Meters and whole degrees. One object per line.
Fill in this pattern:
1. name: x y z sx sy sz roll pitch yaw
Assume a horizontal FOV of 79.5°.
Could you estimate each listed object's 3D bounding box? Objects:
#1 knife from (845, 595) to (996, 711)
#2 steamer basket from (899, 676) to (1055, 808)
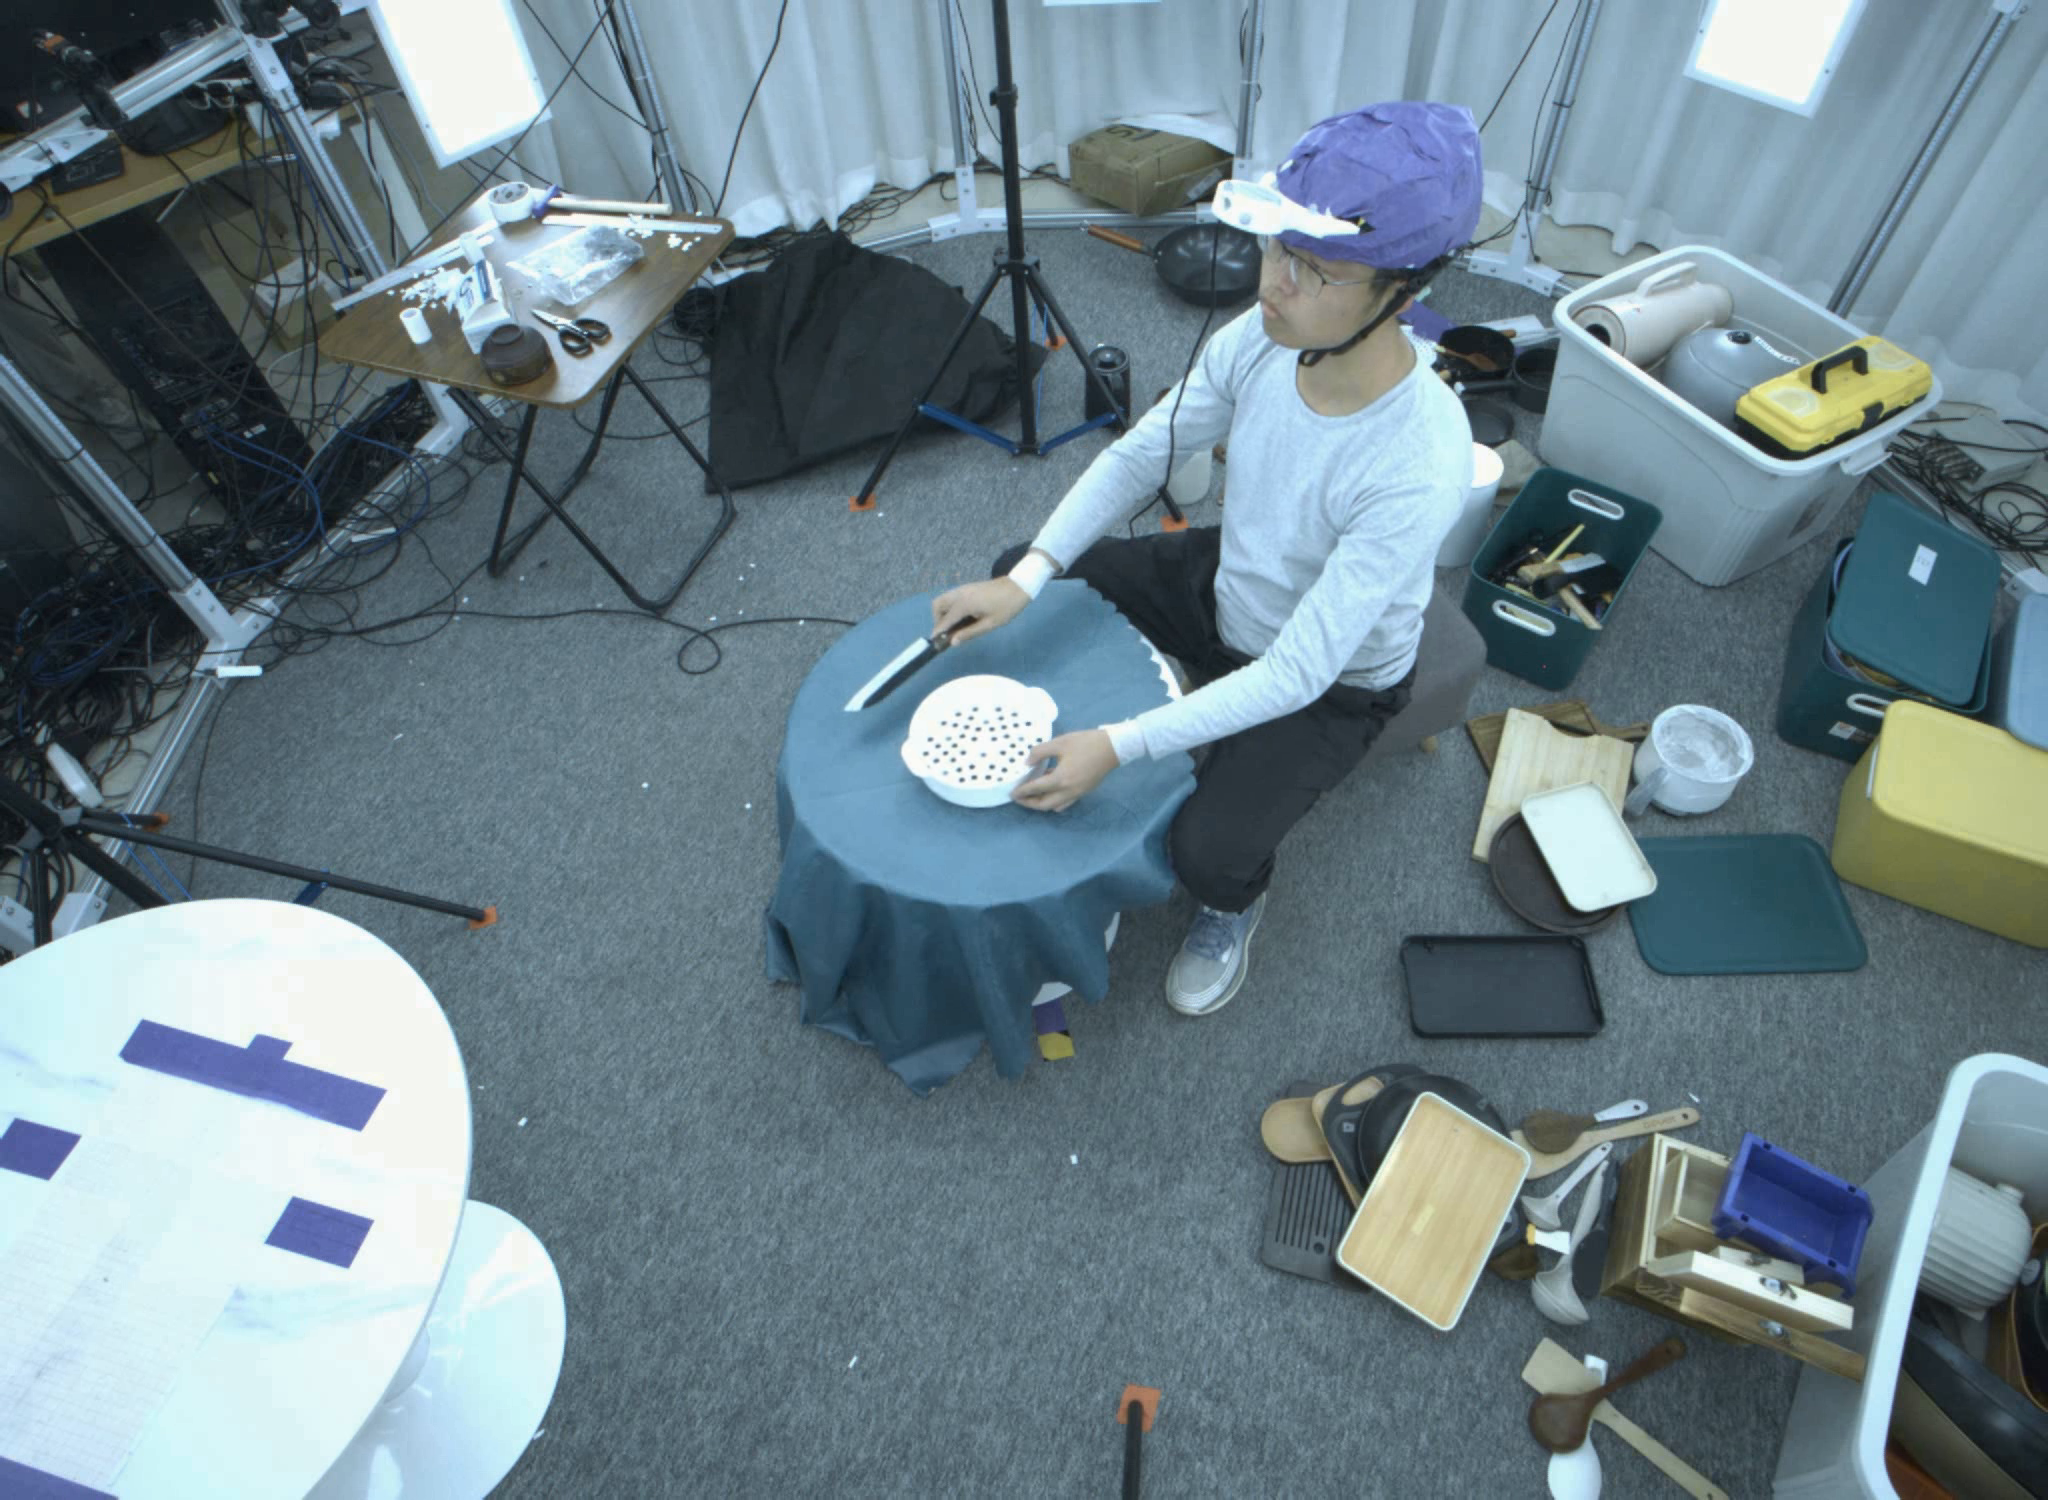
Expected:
1. knife: -0.153 -0.145 1.824 0.291 0.020 0.049 -40 56 -20
2. steamer basket: -0.065 -0.009 1.762 0.232 0.070 0.198 -24 58 -16
